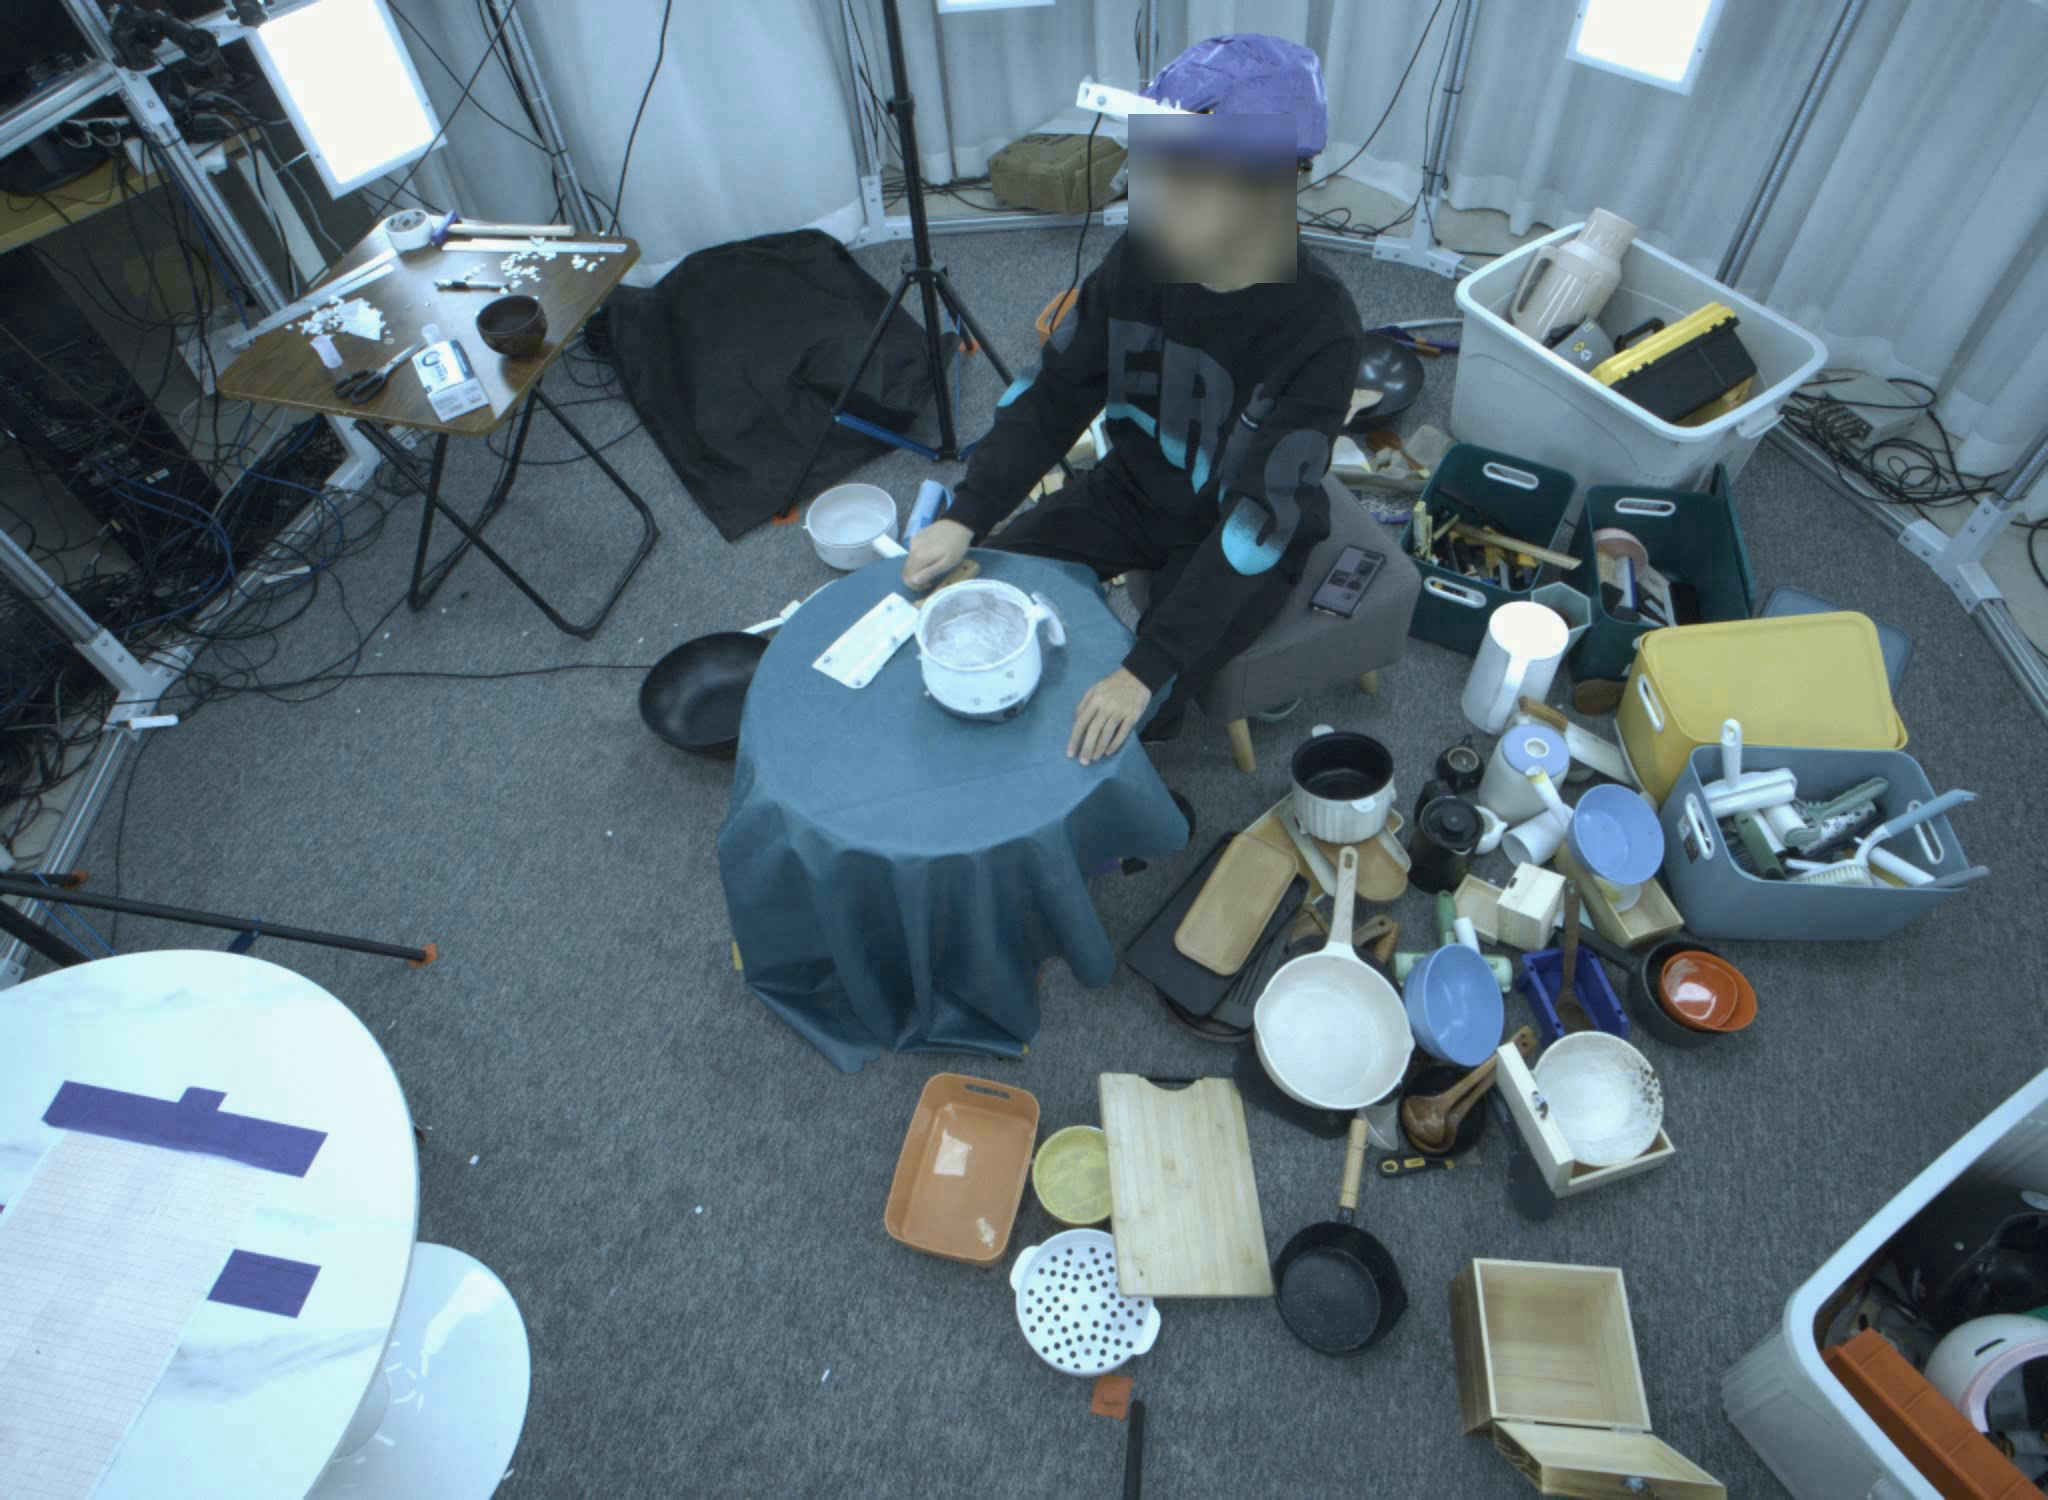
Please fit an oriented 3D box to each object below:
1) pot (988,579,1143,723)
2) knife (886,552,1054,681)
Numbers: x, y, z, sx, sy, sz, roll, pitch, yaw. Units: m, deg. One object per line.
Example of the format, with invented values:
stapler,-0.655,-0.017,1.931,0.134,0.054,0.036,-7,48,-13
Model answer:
pot,0.066,-0.154,1.809,0.235,0.138,0.175,-24,57,-13
knife,-0.074,-0.216,1.931,0.317,0.022,0.112,-39,62,-20
